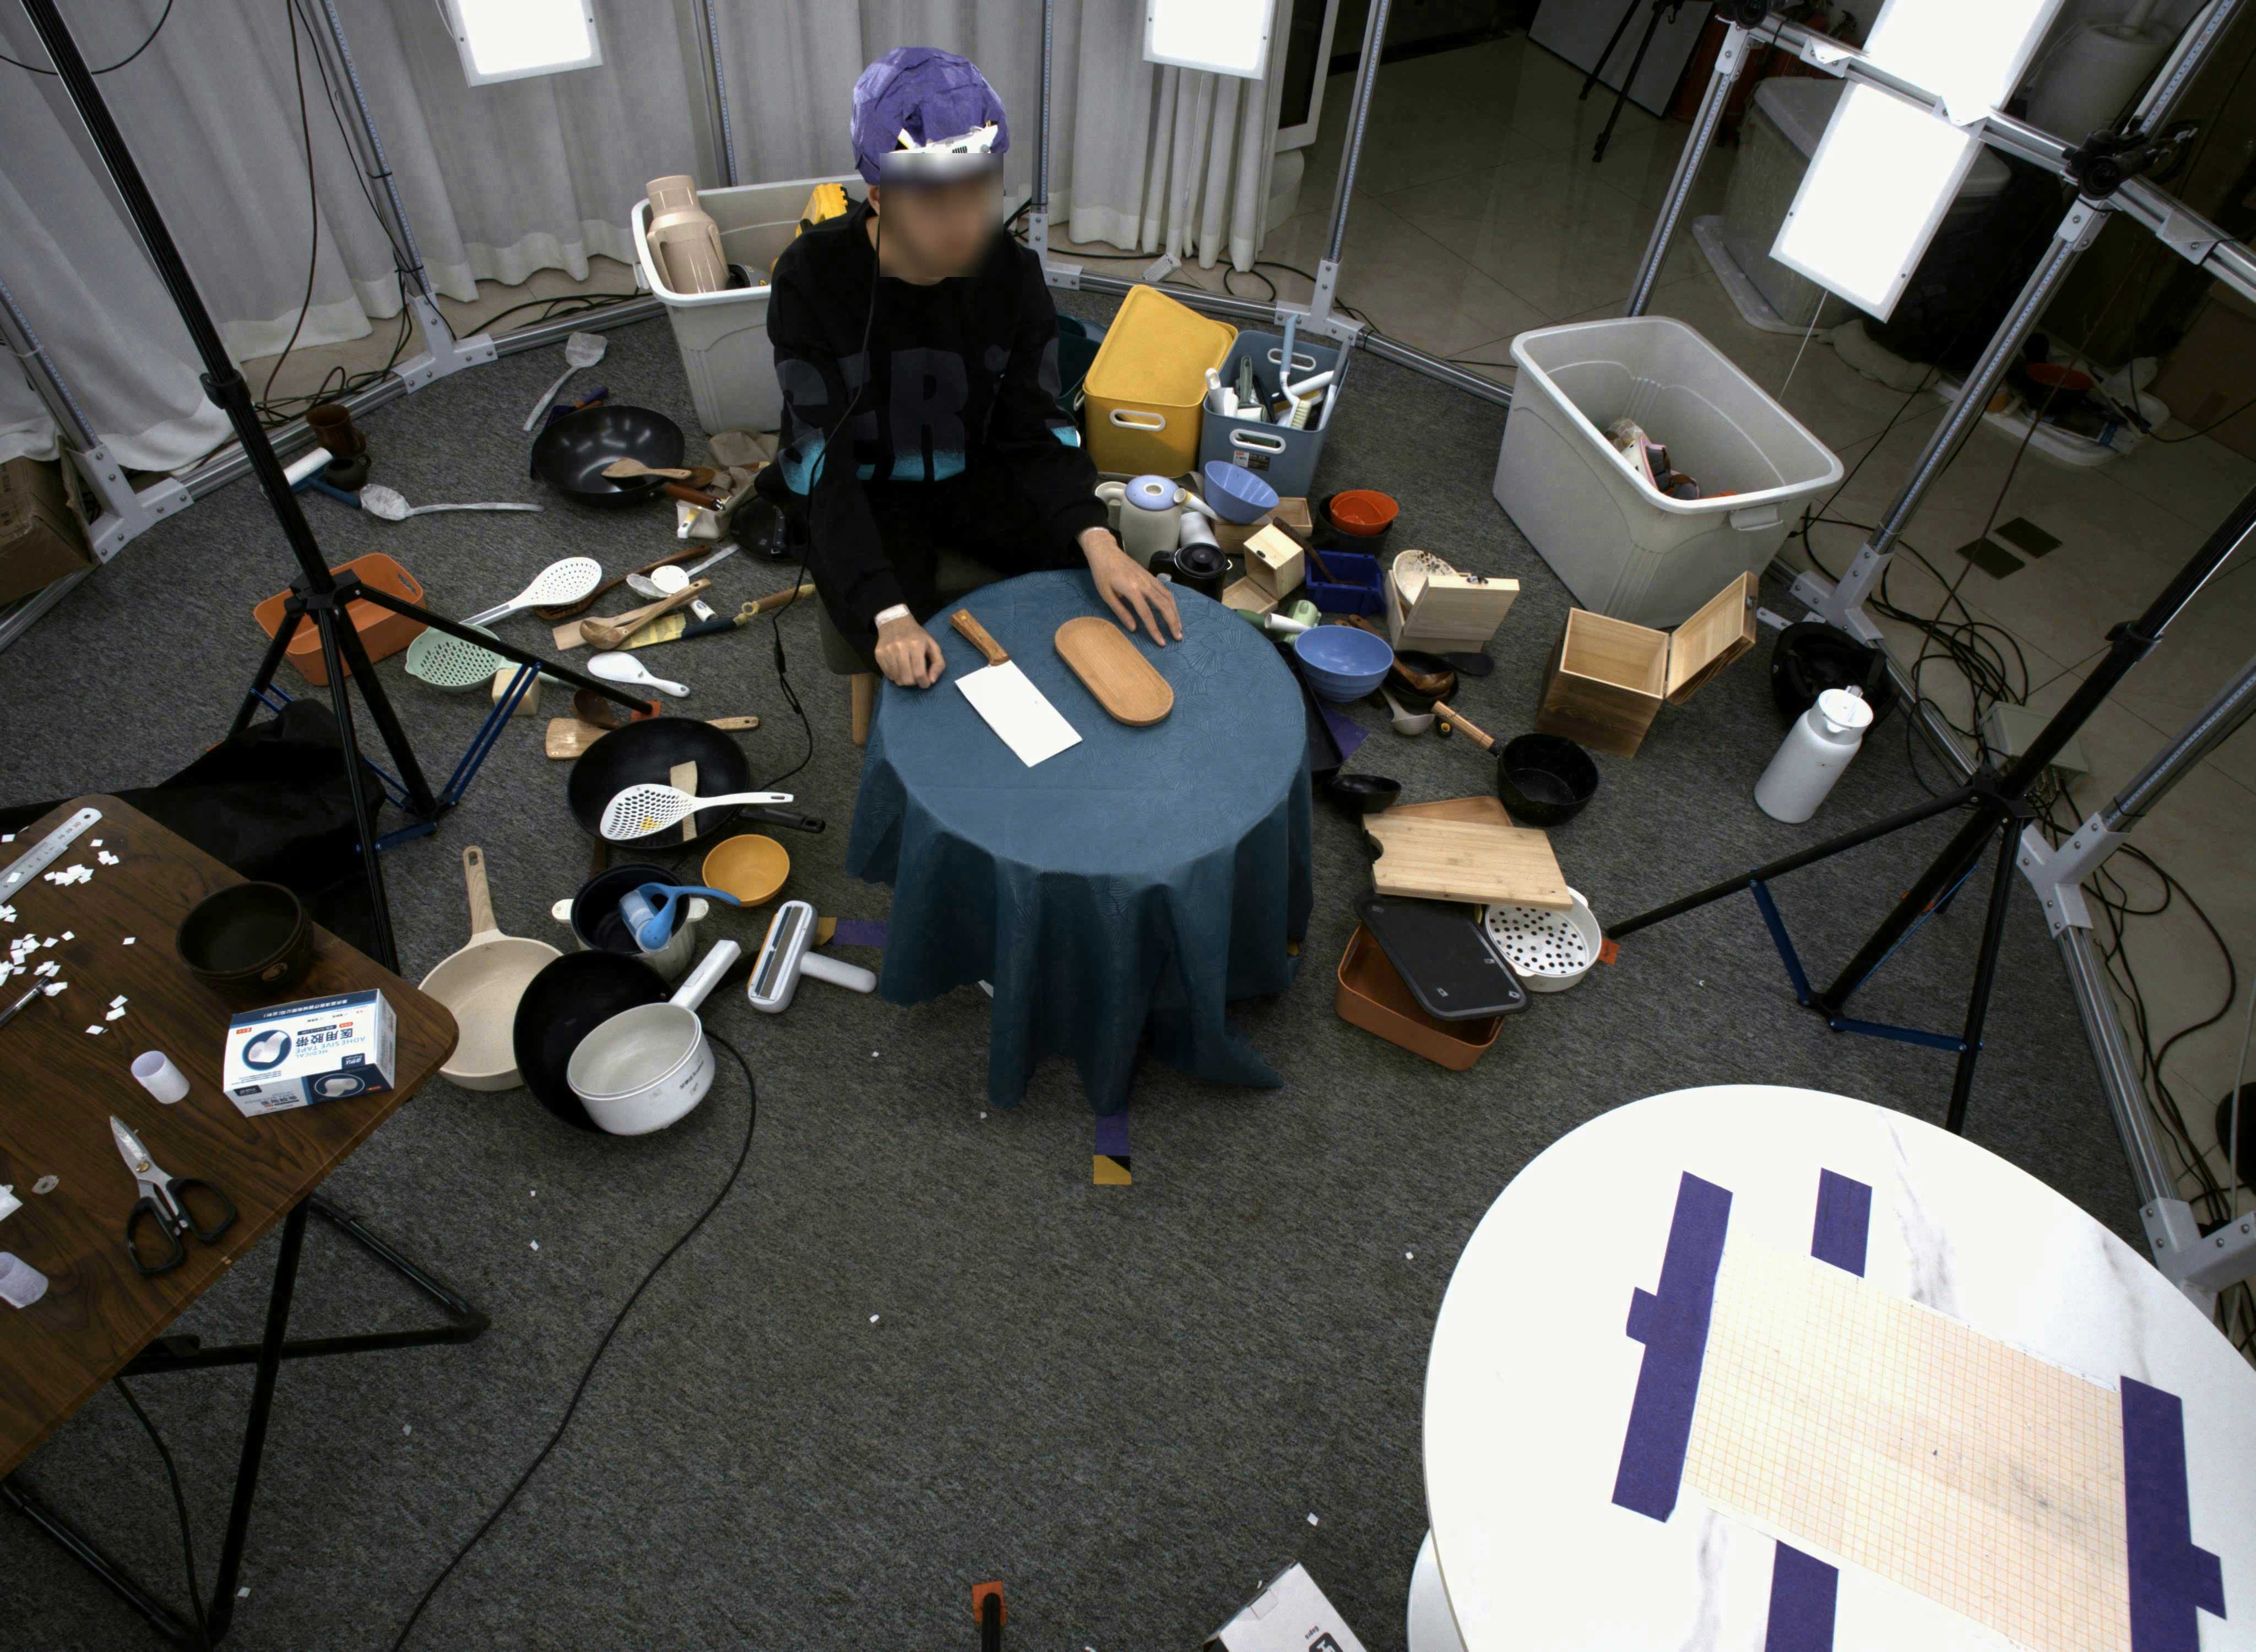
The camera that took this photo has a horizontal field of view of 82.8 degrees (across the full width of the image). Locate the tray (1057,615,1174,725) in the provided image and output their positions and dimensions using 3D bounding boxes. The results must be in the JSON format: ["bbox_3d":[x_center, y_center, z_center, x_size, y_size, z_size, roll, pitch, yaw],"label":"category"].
[{"bbox_3d":[-0.019,-0.227,1.853,0.102,0.020,0.236,-23,53,-23],"label":"tray"}]

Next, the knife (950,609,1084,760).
[{"bbox_3d":[-0.182,-0.201,1.821,0.093,0.020,0.311,-28,58,-22],"label":"knife"}]
